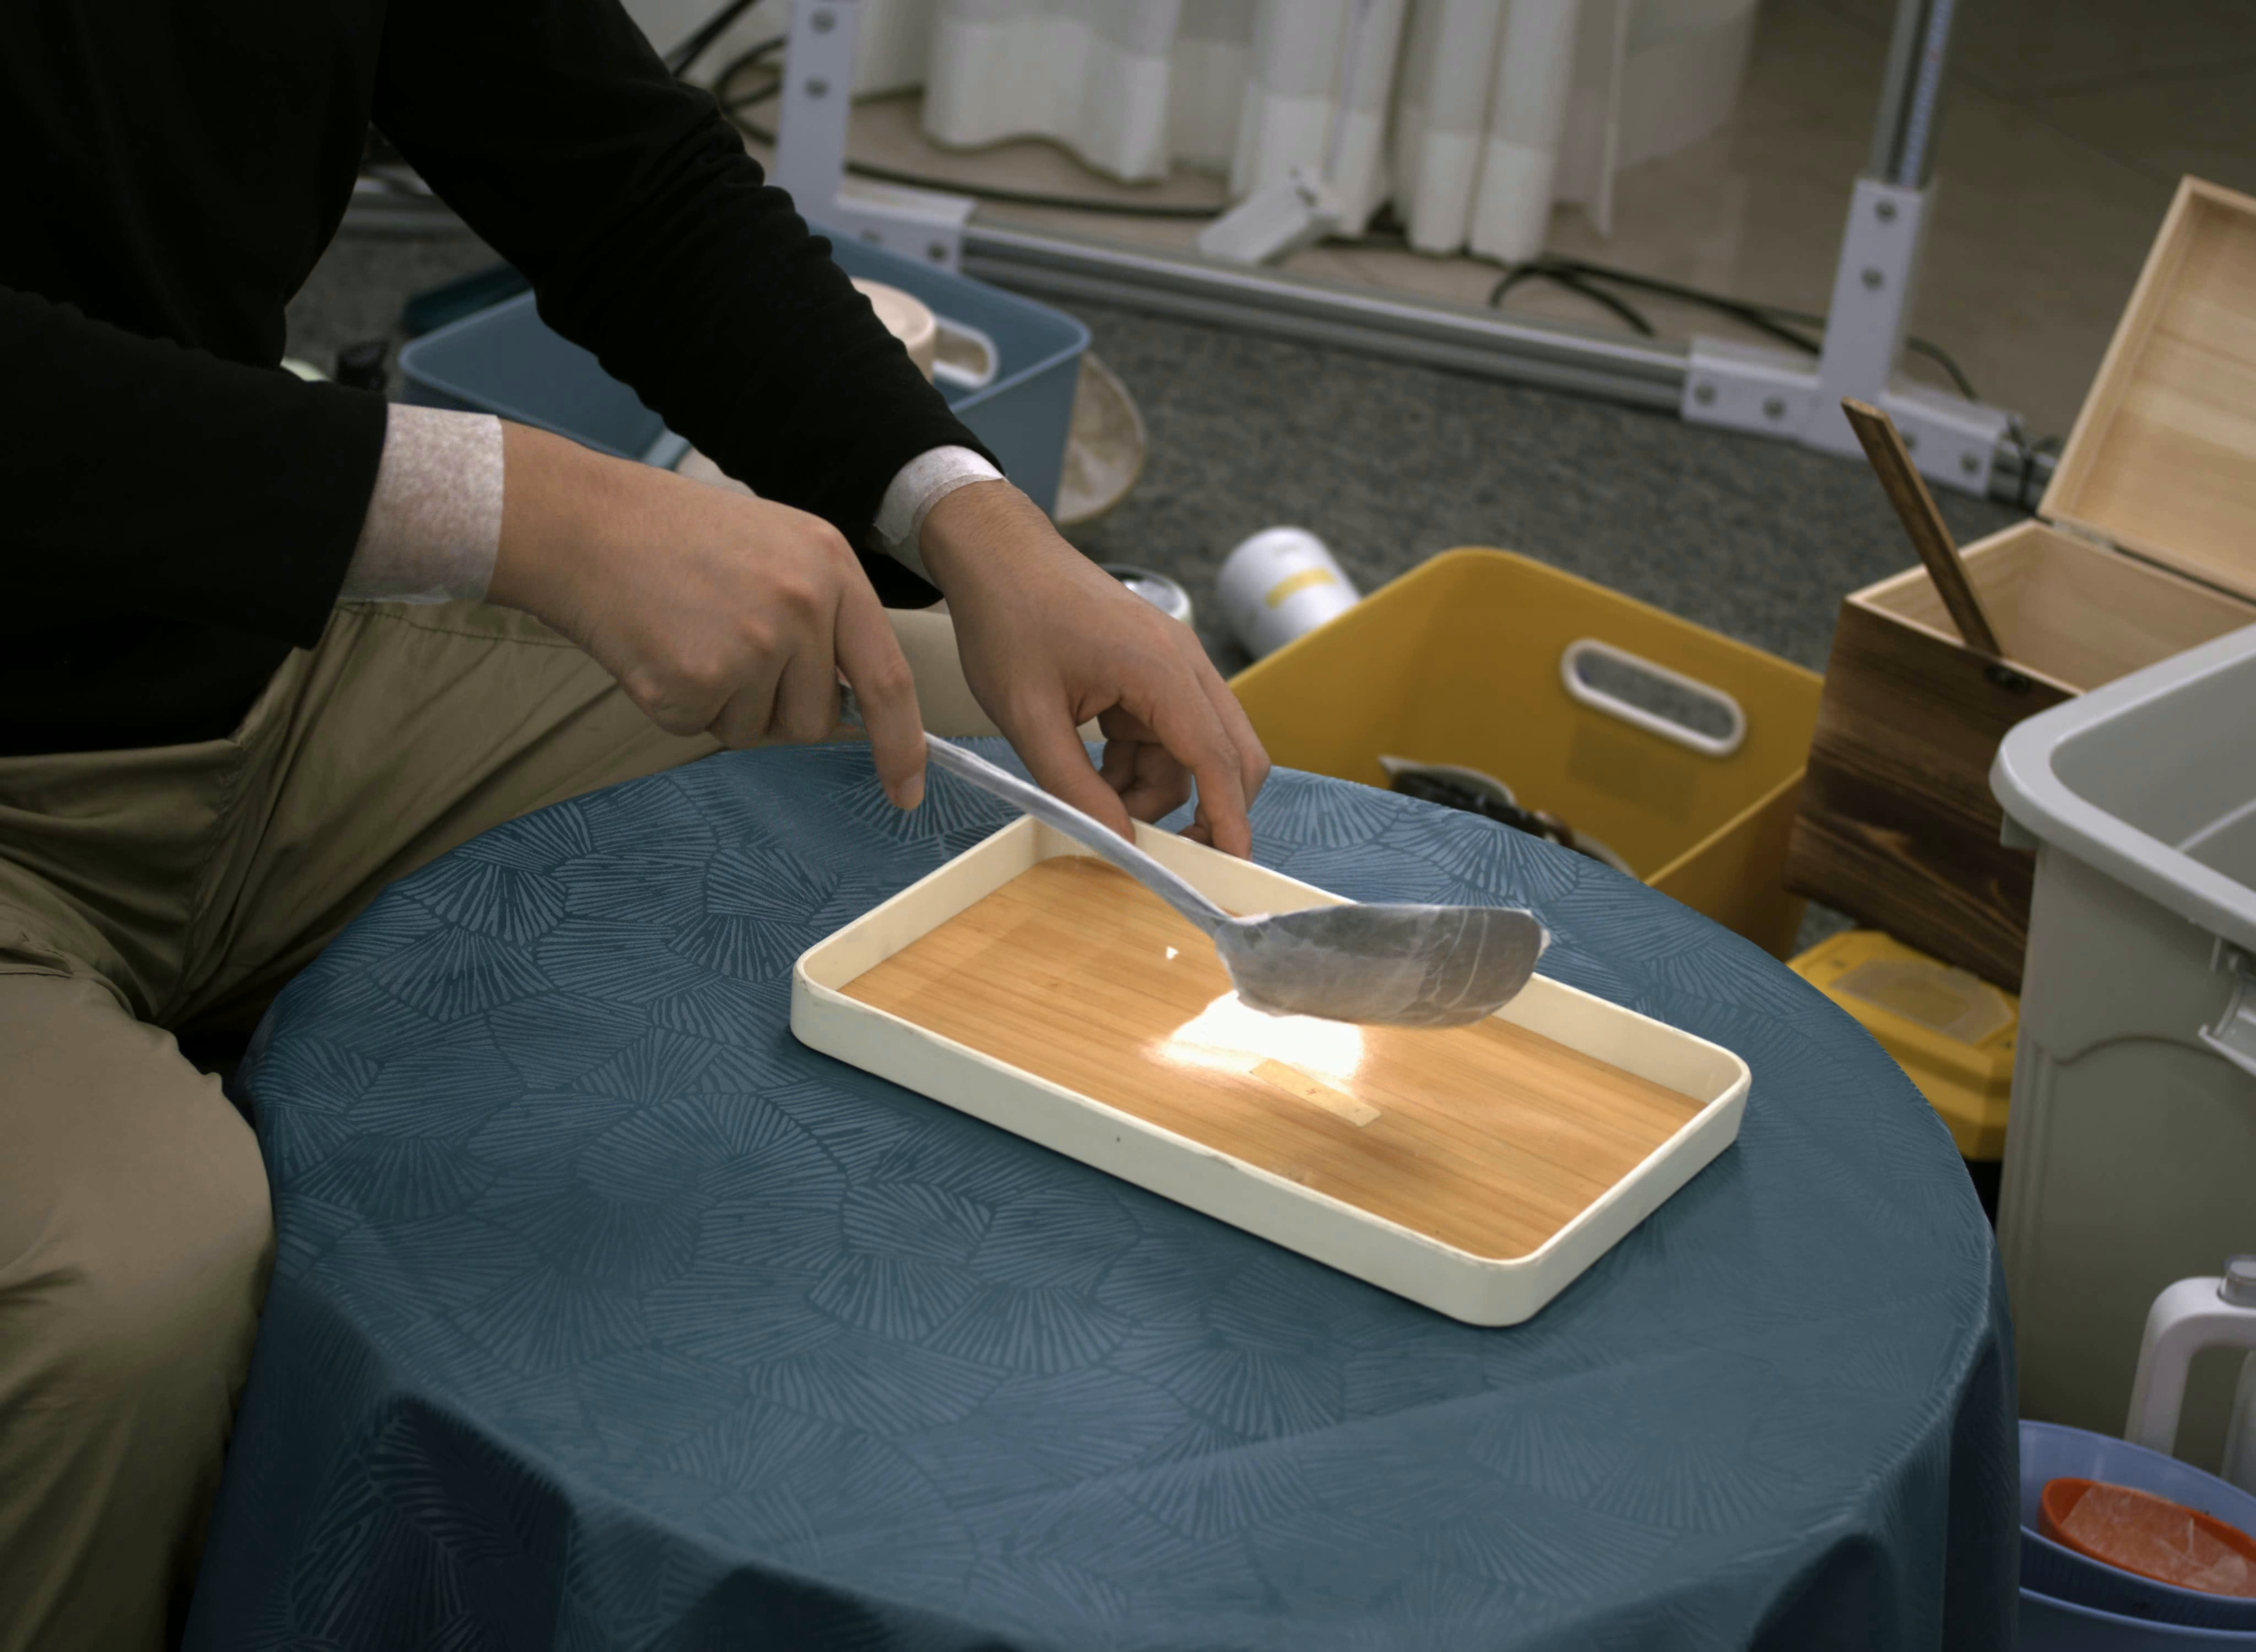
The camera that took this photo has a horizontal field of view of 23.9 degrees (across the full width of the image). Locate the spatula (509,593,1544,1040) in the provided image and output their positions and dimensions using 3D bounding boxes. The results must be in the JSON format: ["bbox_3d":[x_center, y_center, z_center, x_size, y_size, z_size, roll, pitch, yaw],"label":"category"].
[{"bbox_3d":[-0.034,-0.011,1.787,0.364,0.098,0.045,27,55,-3],"label":"spatula"}]

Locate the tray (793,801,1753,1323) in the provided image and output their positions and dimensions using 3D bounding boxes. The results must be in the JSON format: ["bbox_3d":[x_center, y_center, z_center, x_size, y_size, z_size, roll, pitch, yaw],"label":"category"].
[{"bbox_3d":[0.050,0.078,1.872,0.302,0.027,0.191,21,30,27],"label":"tray"}]
